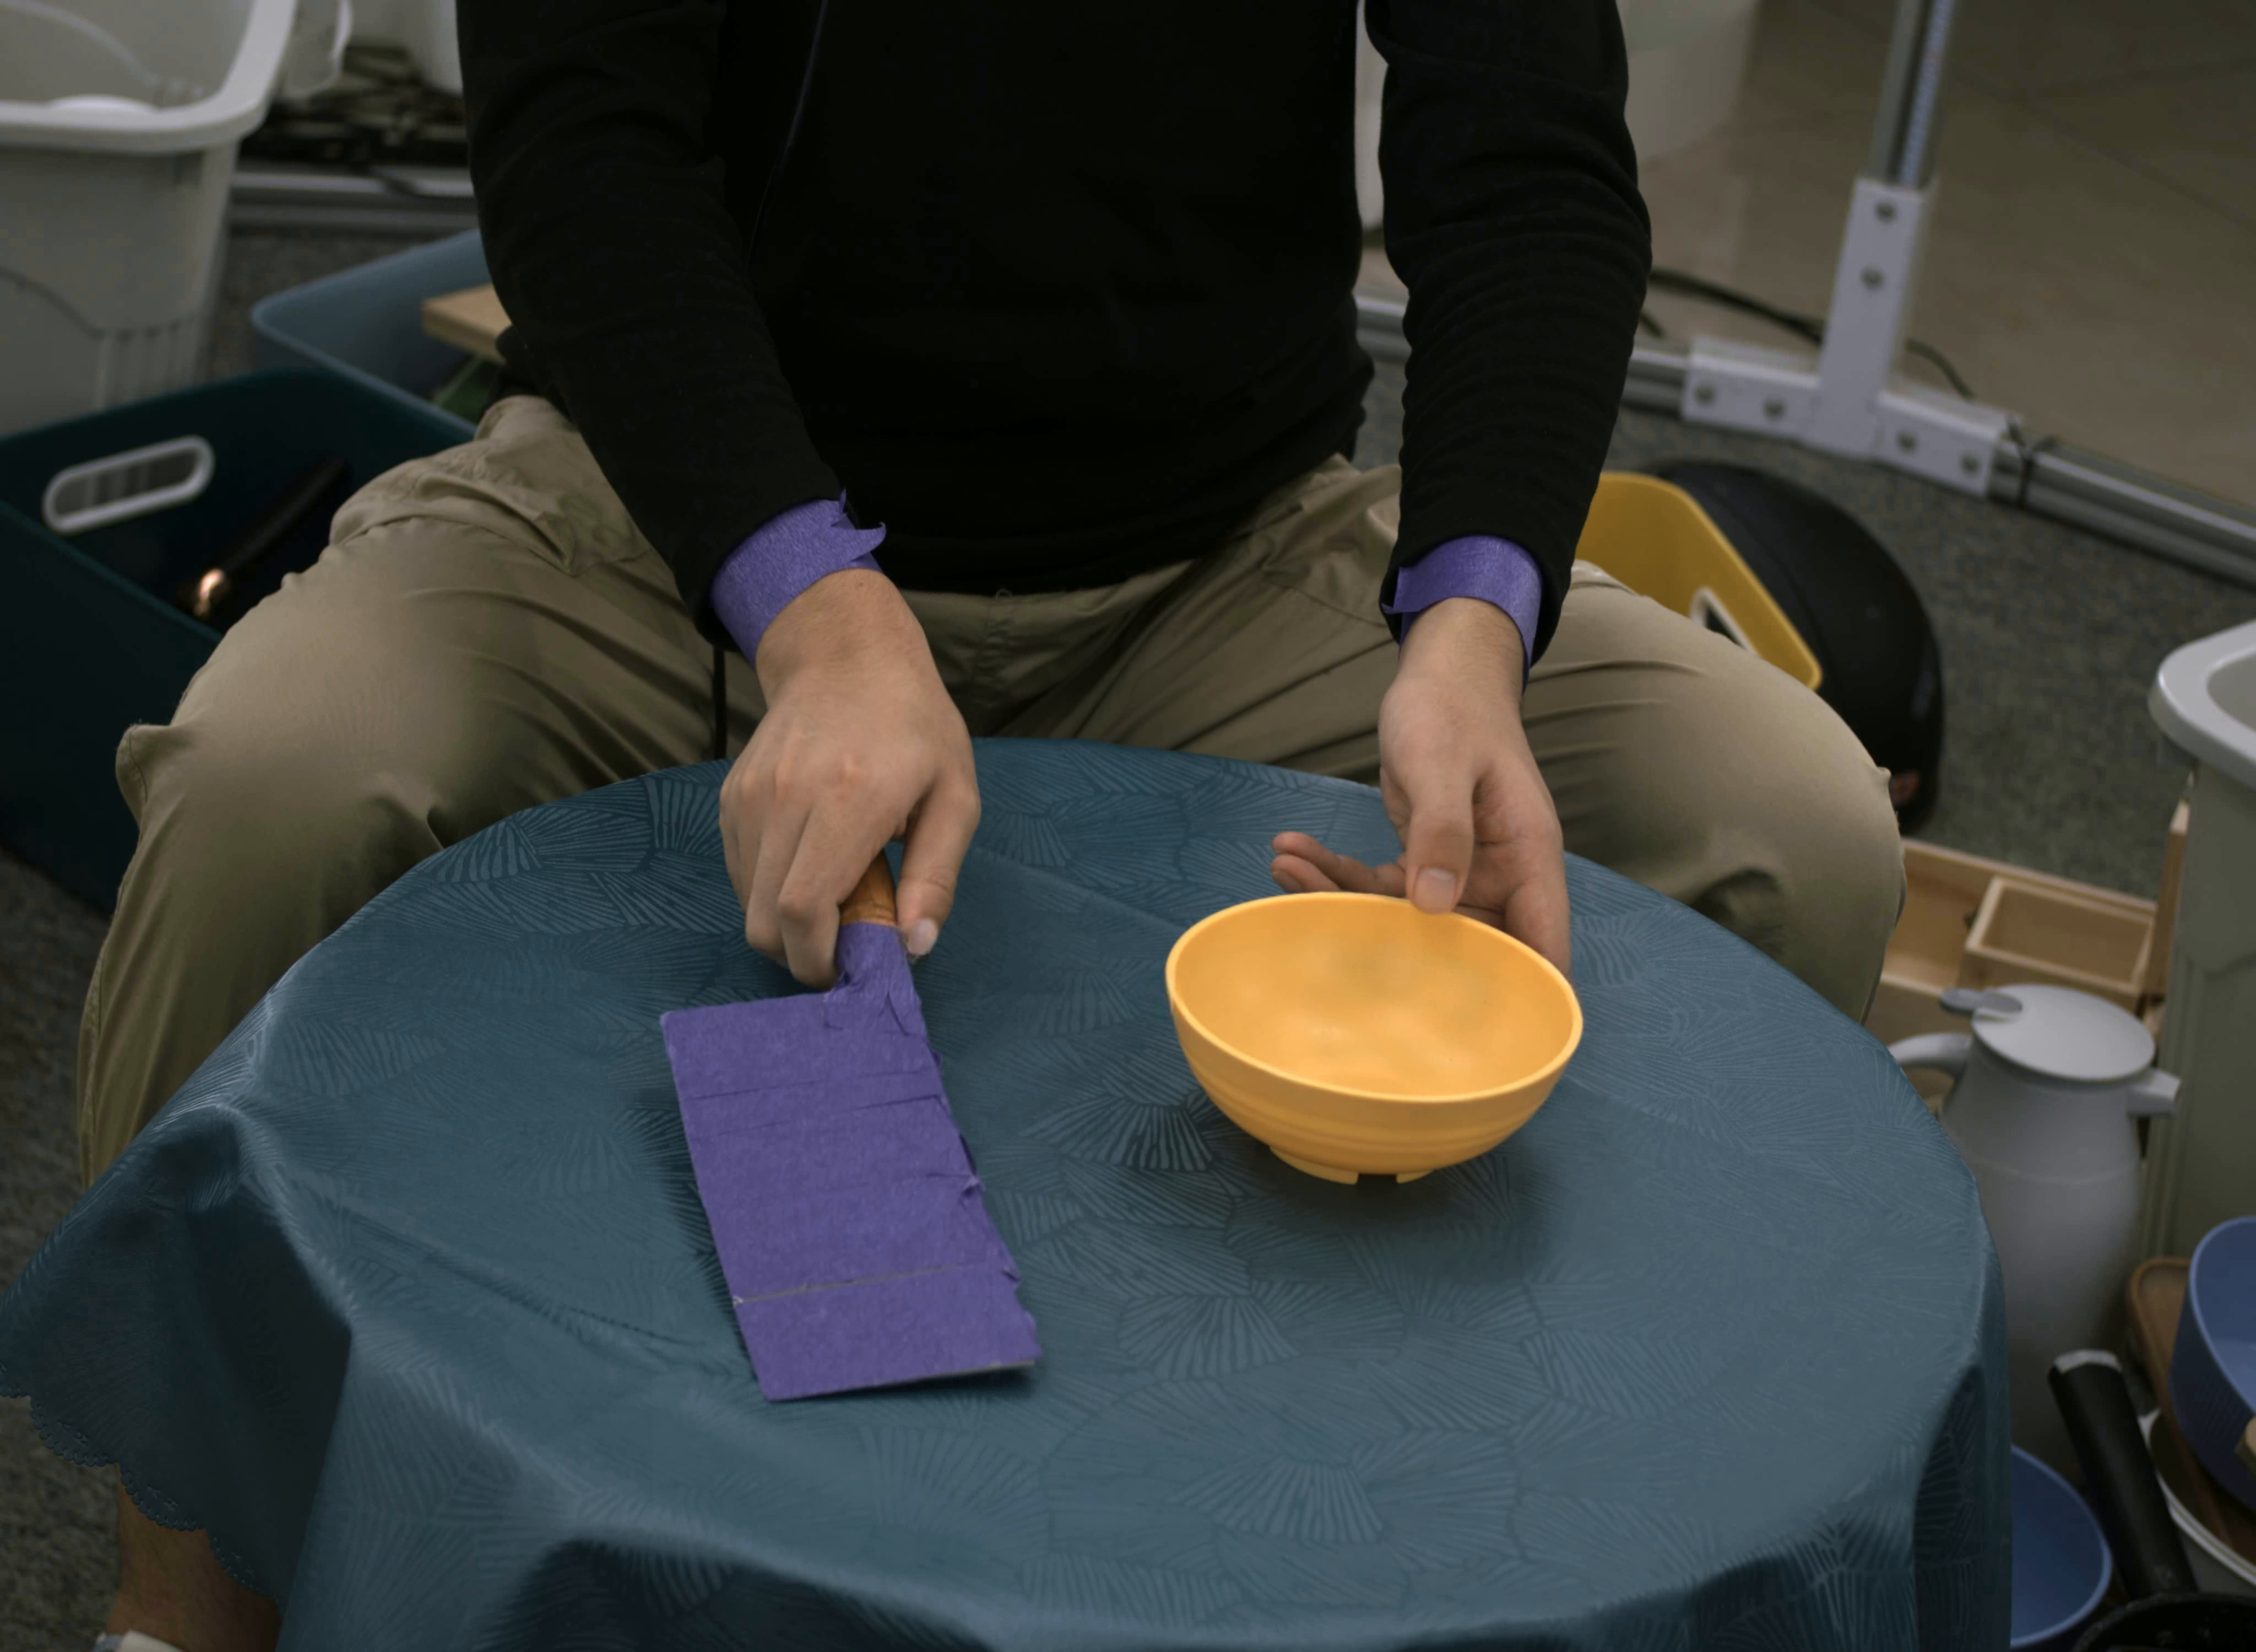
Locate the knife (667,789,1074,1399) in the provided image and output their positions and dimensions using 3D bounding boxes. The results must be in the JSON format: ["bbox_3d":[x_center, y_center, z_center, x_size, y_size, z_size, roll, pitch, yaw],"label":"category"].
[{"bbox_3d":[-0.104,0.085,1.797,0.103,0.032,0.318,-7,33,-12],"label":"knife"}]

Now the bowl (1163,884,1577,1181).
[{"bbox_3d":[0.079,0.081,1.840,0.145,0.060,0.146,7,27,-4],"label":"bowl"}]
